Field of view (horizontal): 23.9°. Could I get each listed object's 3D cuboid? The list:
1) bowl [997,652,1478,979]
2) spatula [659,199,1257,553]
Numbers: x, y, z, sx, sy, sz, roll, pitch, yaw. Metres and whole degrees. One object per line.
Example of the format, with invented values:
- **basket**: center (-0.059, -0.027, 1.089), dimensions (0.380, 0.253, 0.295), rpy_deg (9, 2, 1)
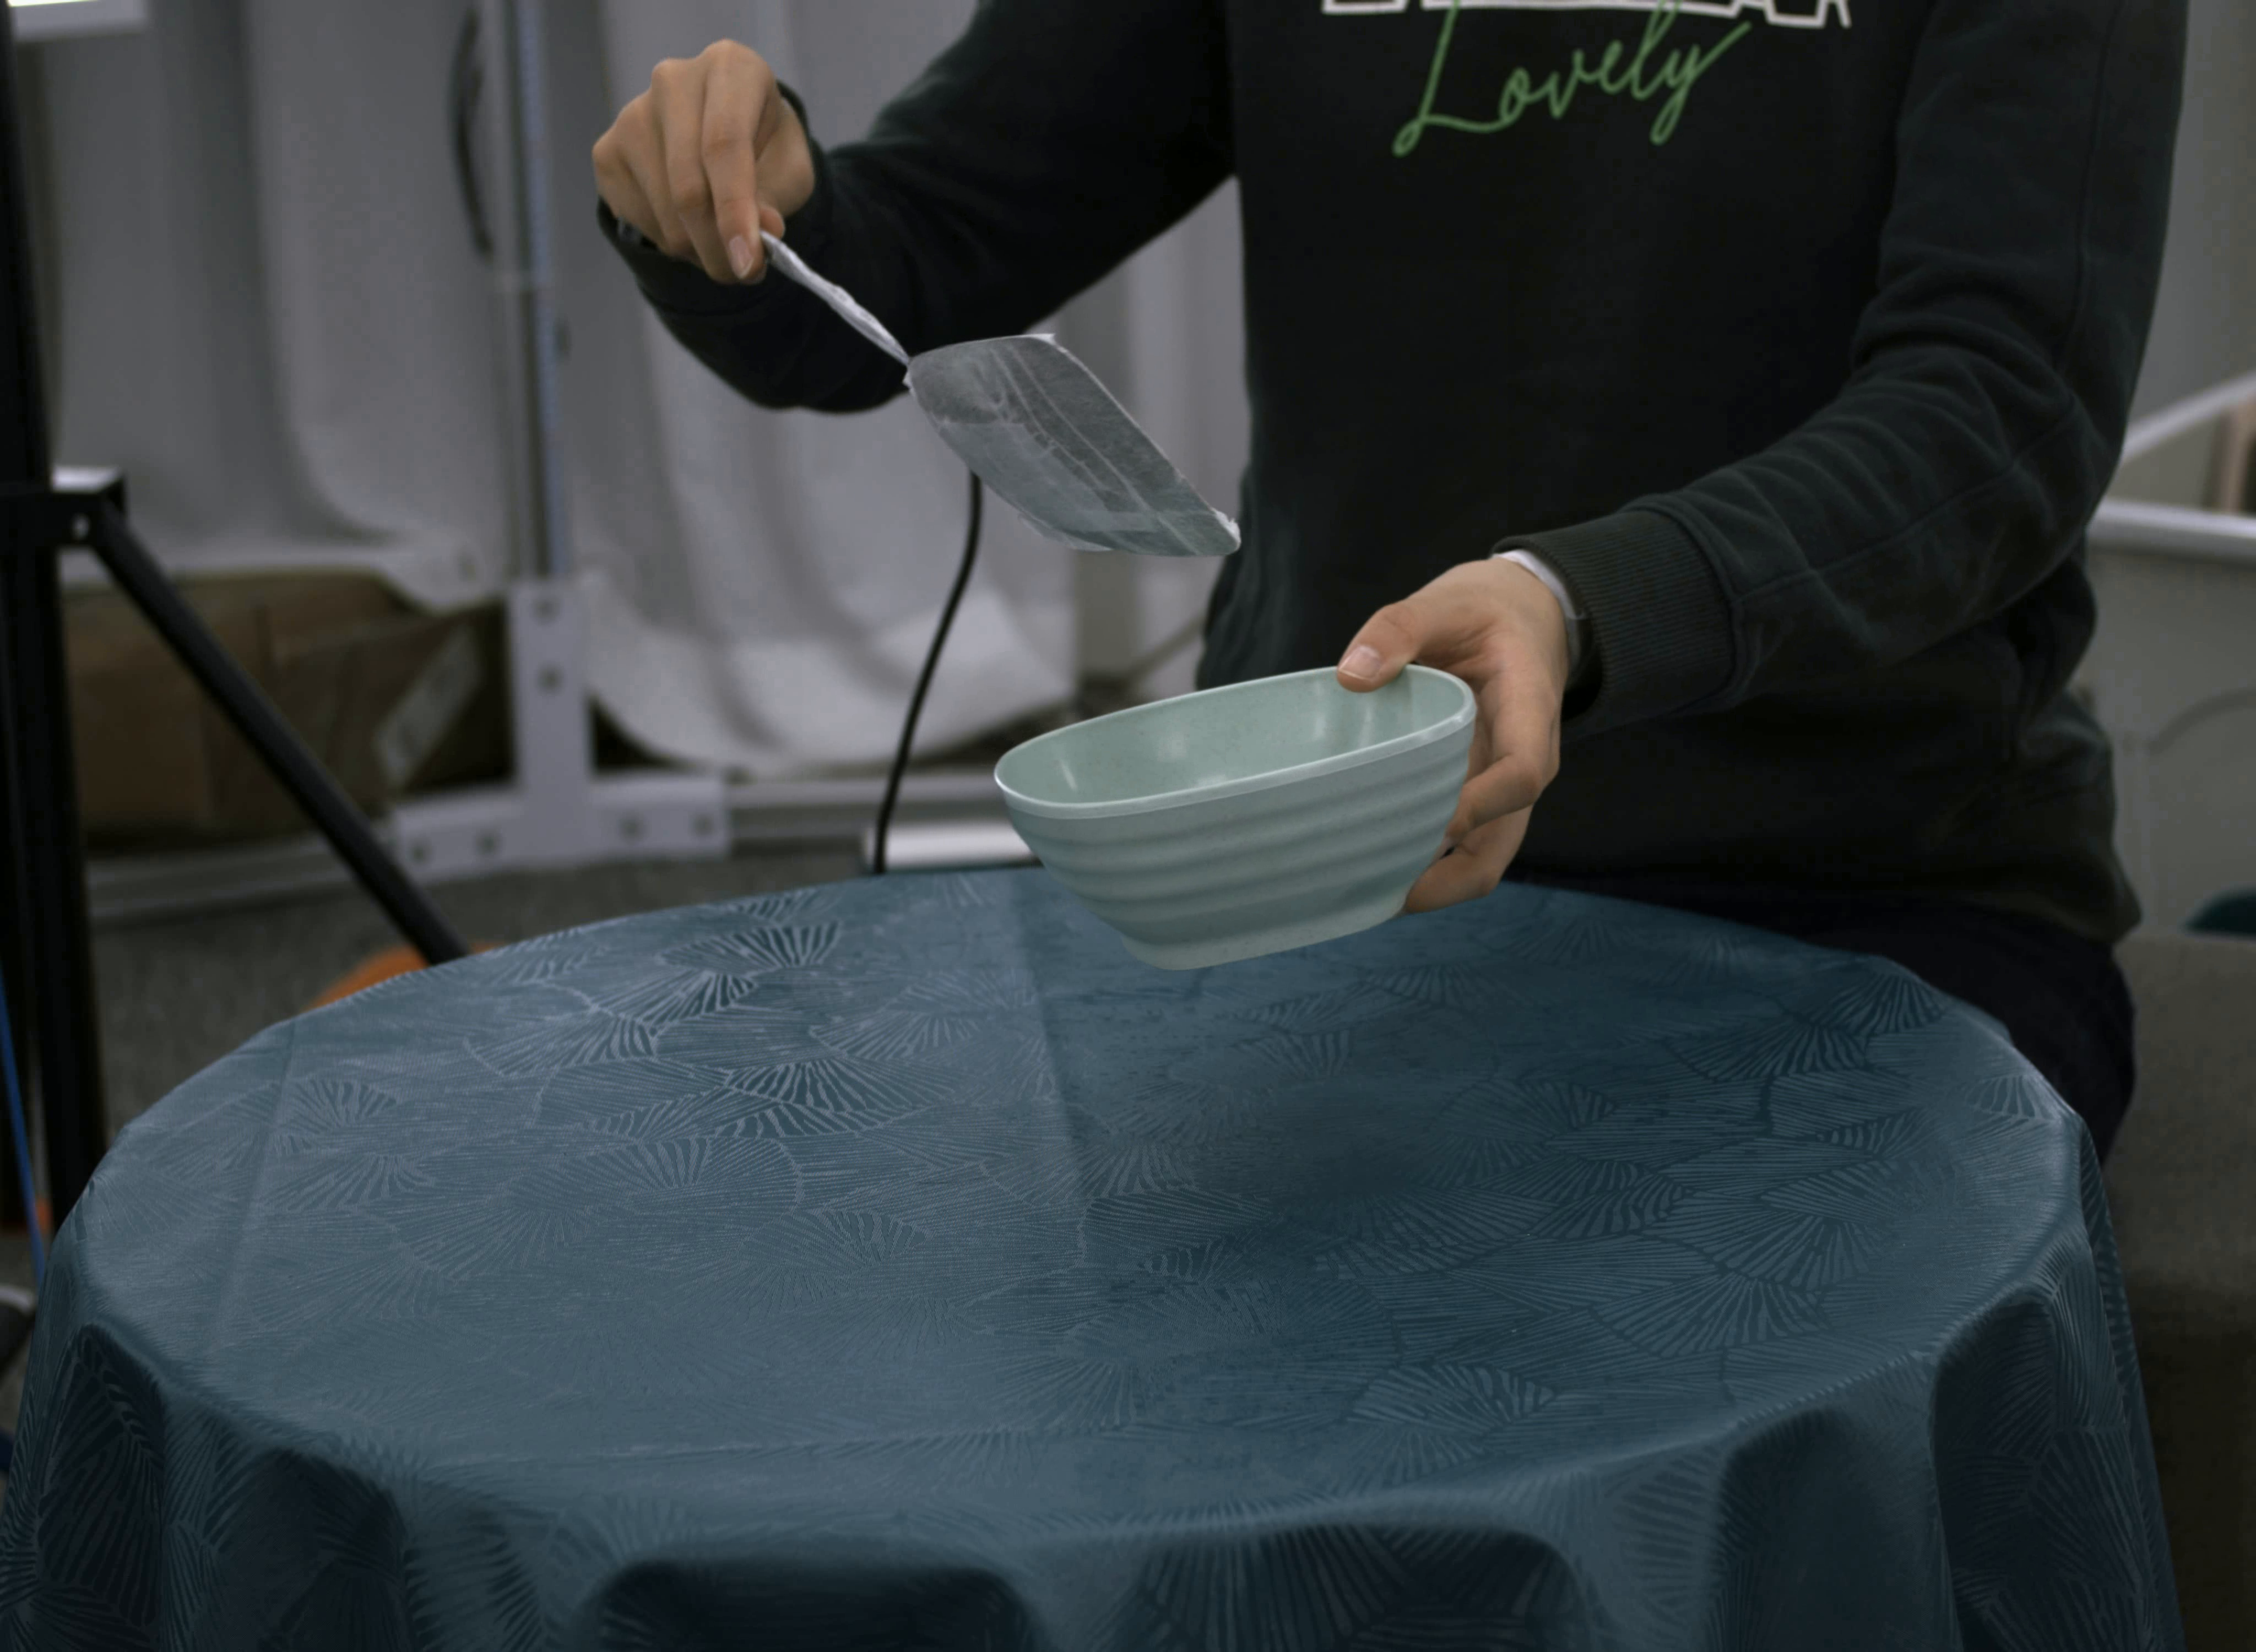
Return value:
- **bowl**: center (0.036, 0.000, 1.534), dimensions (0.151, 0.058, 0.152), rpy_deg (-12, 15, 2)
- **spatula**: center (-0.072, -0.155, 1.649), dimensions (0.045, 0.097, 0.372), rpy_deg (-45, 32, -2)
